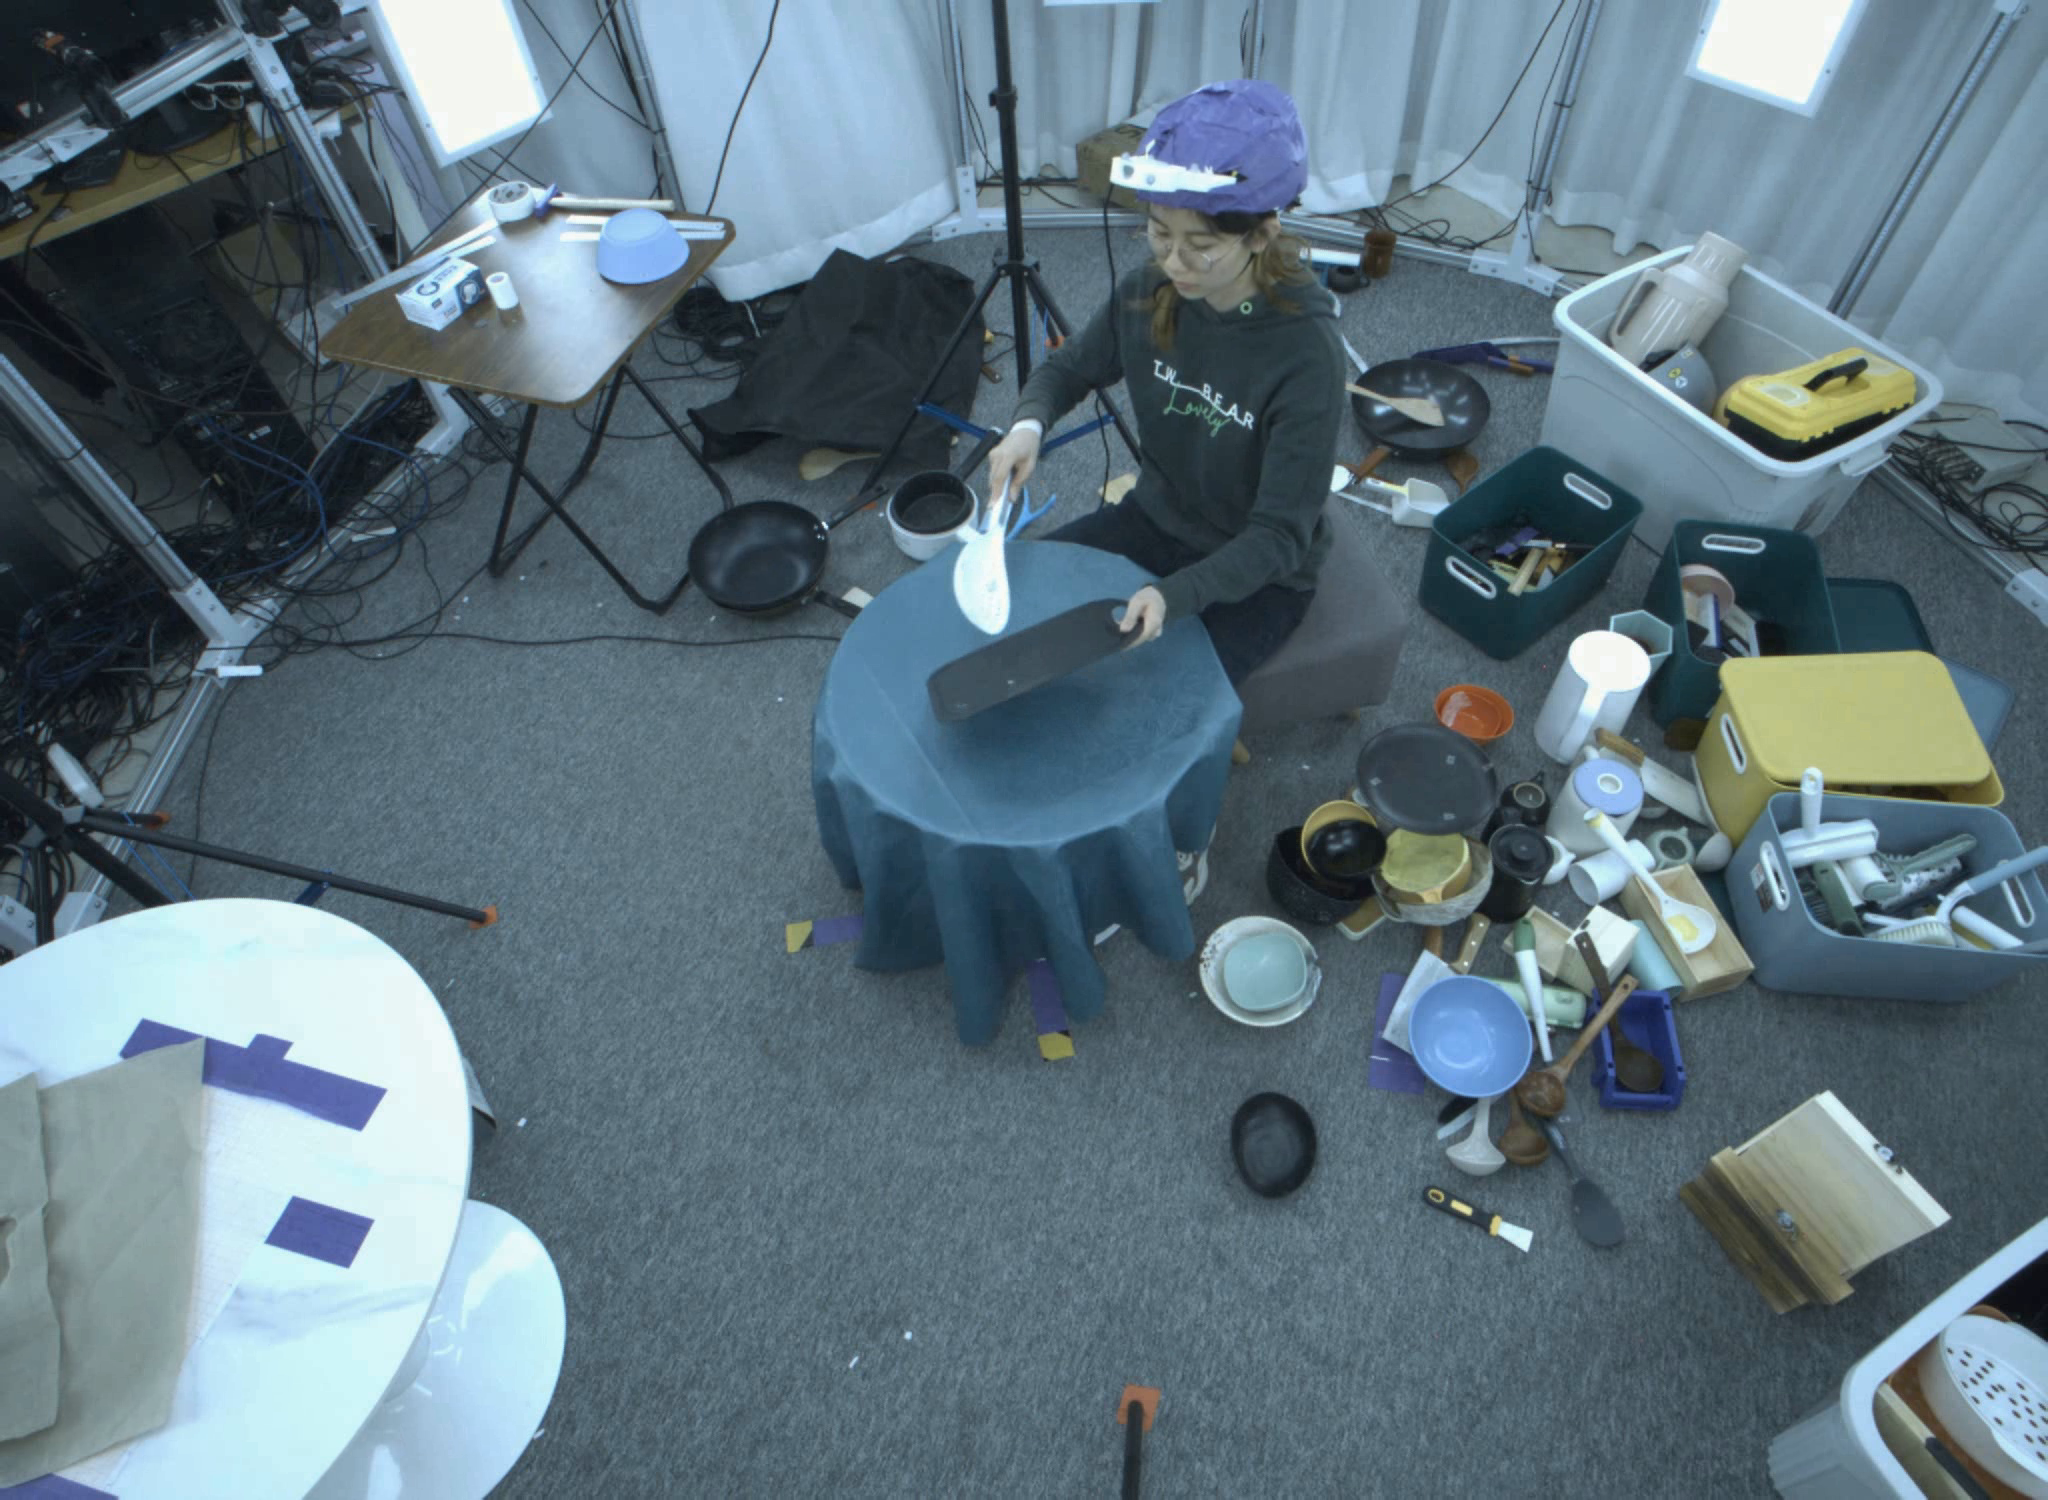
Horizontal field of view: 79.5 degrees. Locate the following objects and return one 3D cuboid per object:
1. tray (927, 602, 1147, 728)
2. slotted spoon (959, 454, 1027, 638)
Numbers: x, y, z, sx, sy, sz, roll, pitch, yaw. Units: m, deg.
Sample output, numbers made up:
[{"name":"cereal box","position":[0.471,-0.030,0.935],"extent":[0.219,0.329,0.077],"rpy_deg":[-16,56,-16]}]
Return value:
[{"name":"tray","position":[0.017,-0.129,1.743],"extent":[0.325,0.010,0.208],"rpy_deg":[-23,28,-1]},{"name":"slotted spoon","position":[-0.037,-0.315,1.818],"extent":[0.045,0.139,0.348],"rpy_deg":[-3,55,29]}]
